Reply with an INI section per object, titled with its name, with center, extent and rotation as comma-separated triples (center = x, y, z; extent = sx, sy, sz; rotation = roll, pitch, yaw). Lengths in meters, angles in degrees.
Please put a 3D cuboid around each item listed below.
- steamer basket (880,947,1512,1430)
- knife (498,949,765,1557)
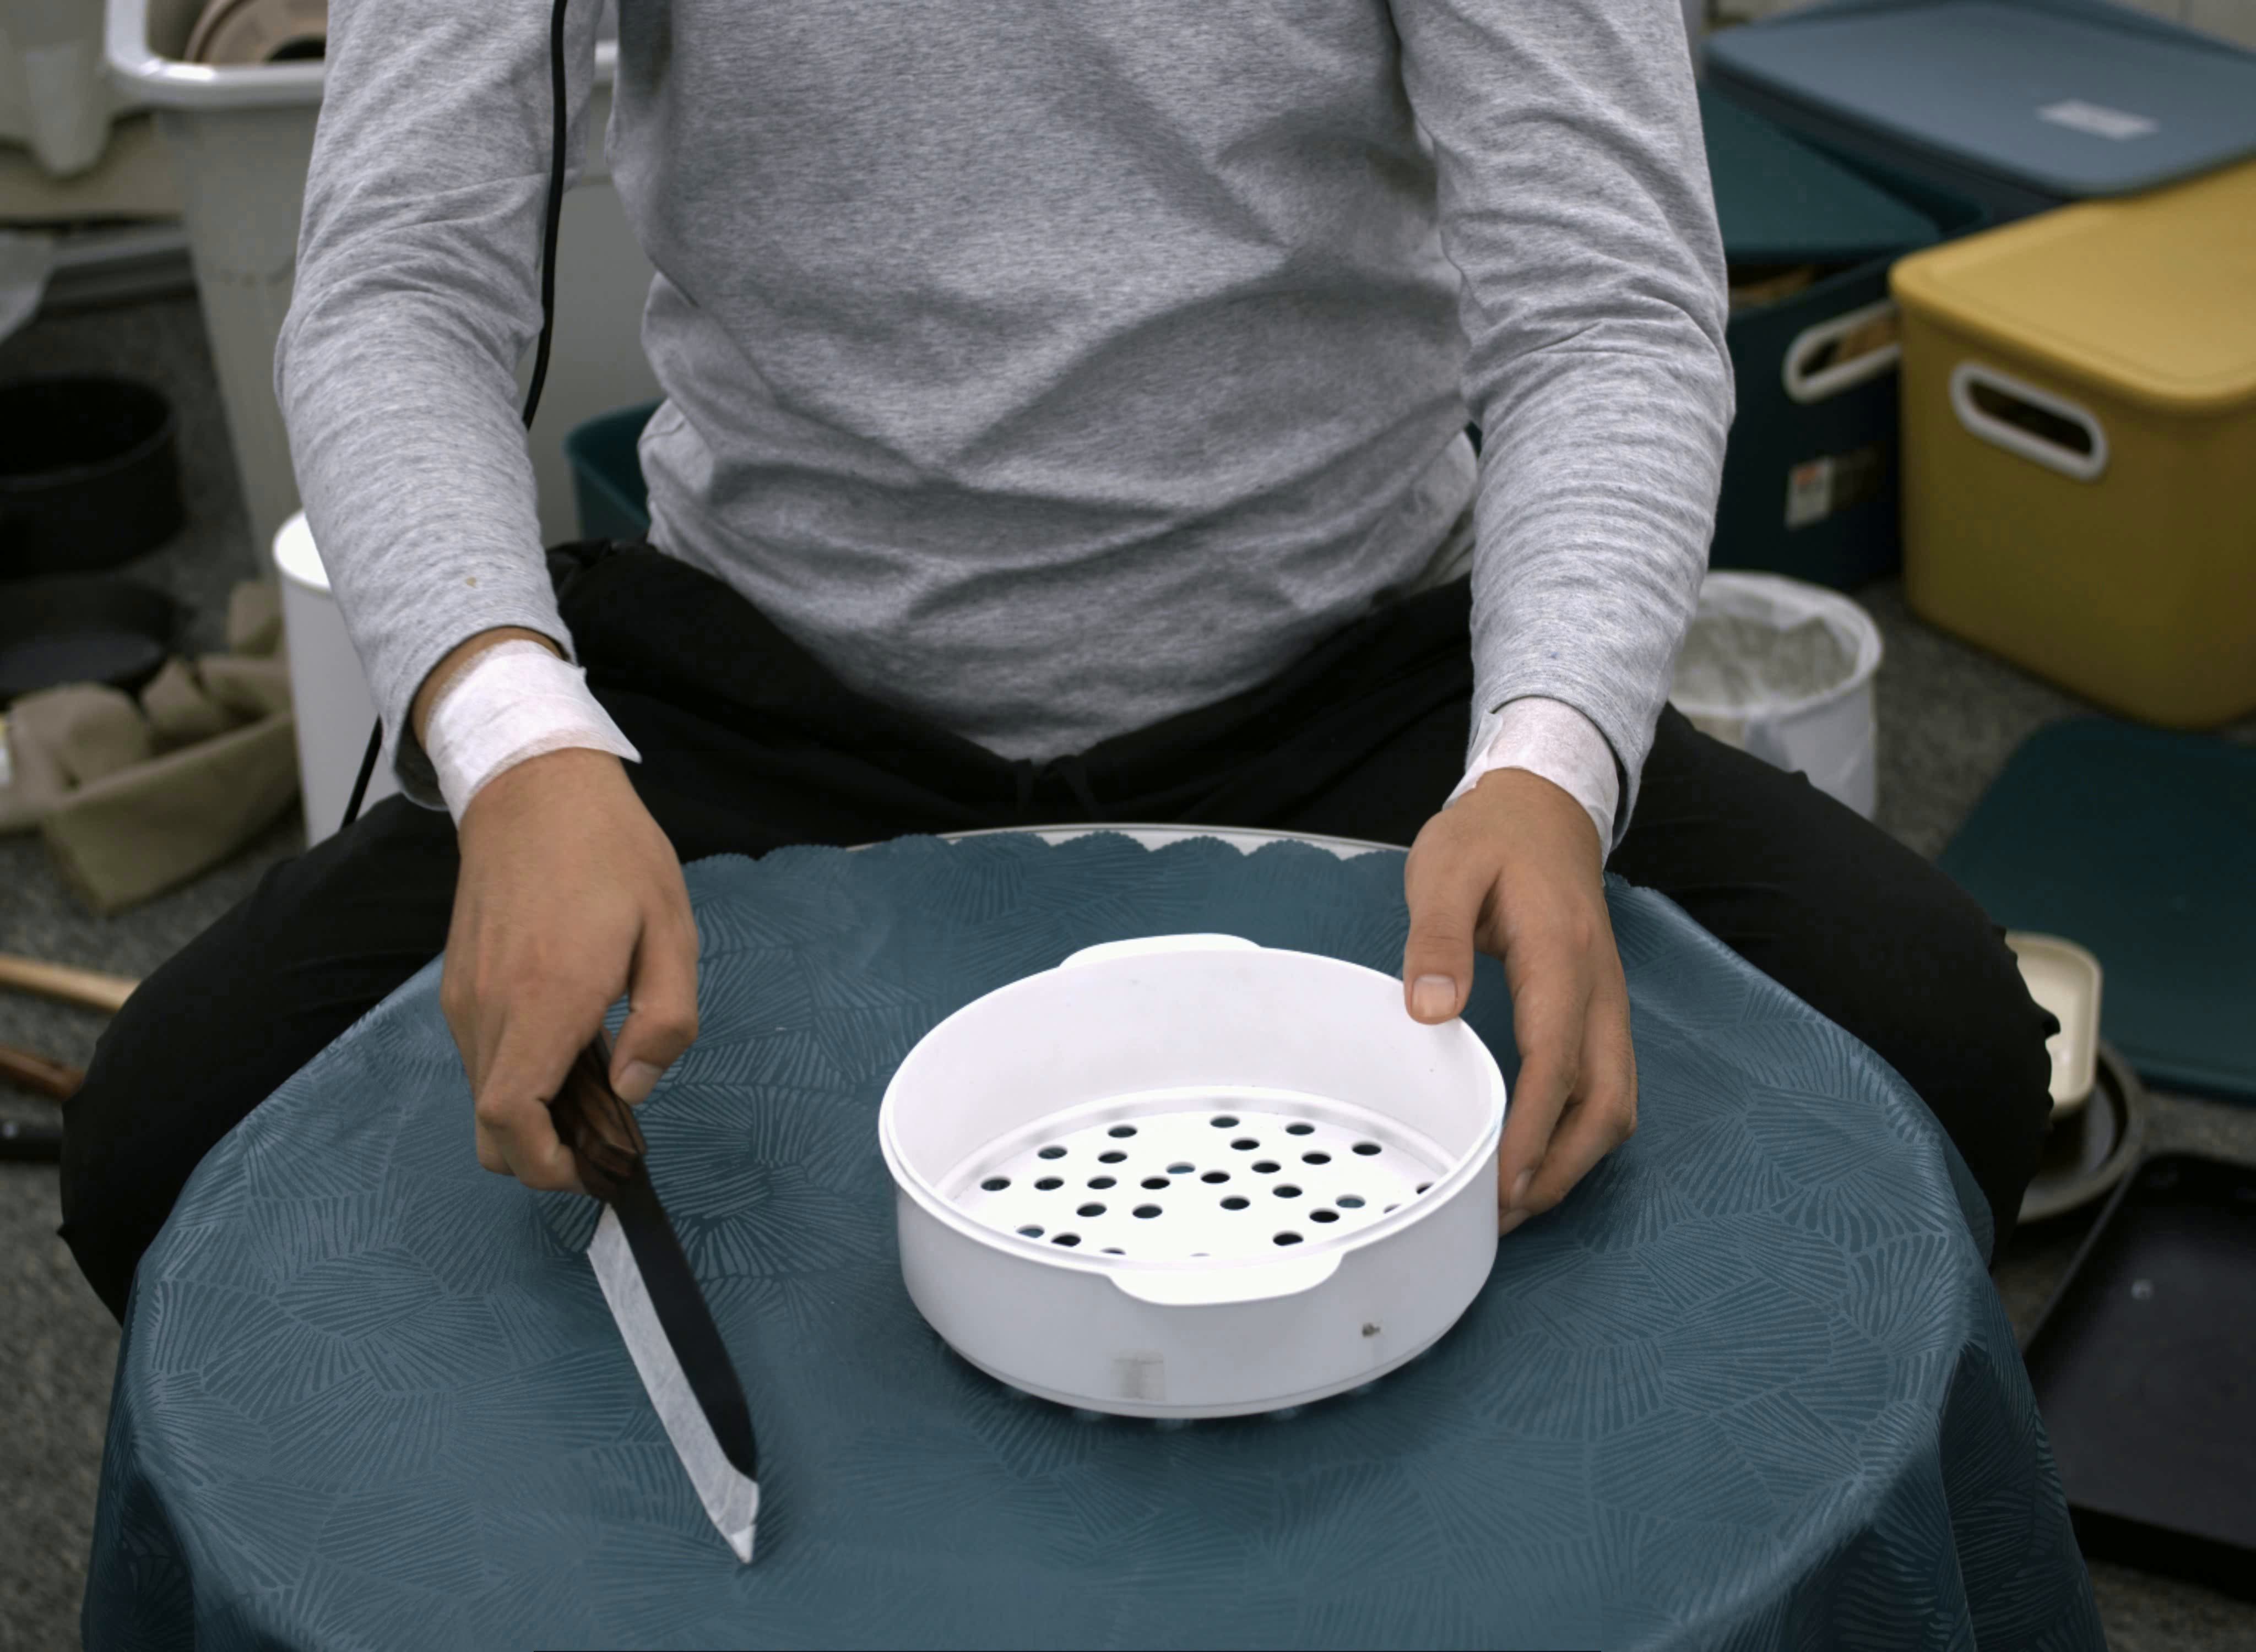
[steamer basket]
center = 0.022, 0.117, 1.796
extent = 0.201, 0.068, 0.233
rotation = -4, 26, -4
[knife]
center = -0.156, 0.132, 1.783
extent = 0.020, 0.049, 0.293
rotation = 11, 30, -29
